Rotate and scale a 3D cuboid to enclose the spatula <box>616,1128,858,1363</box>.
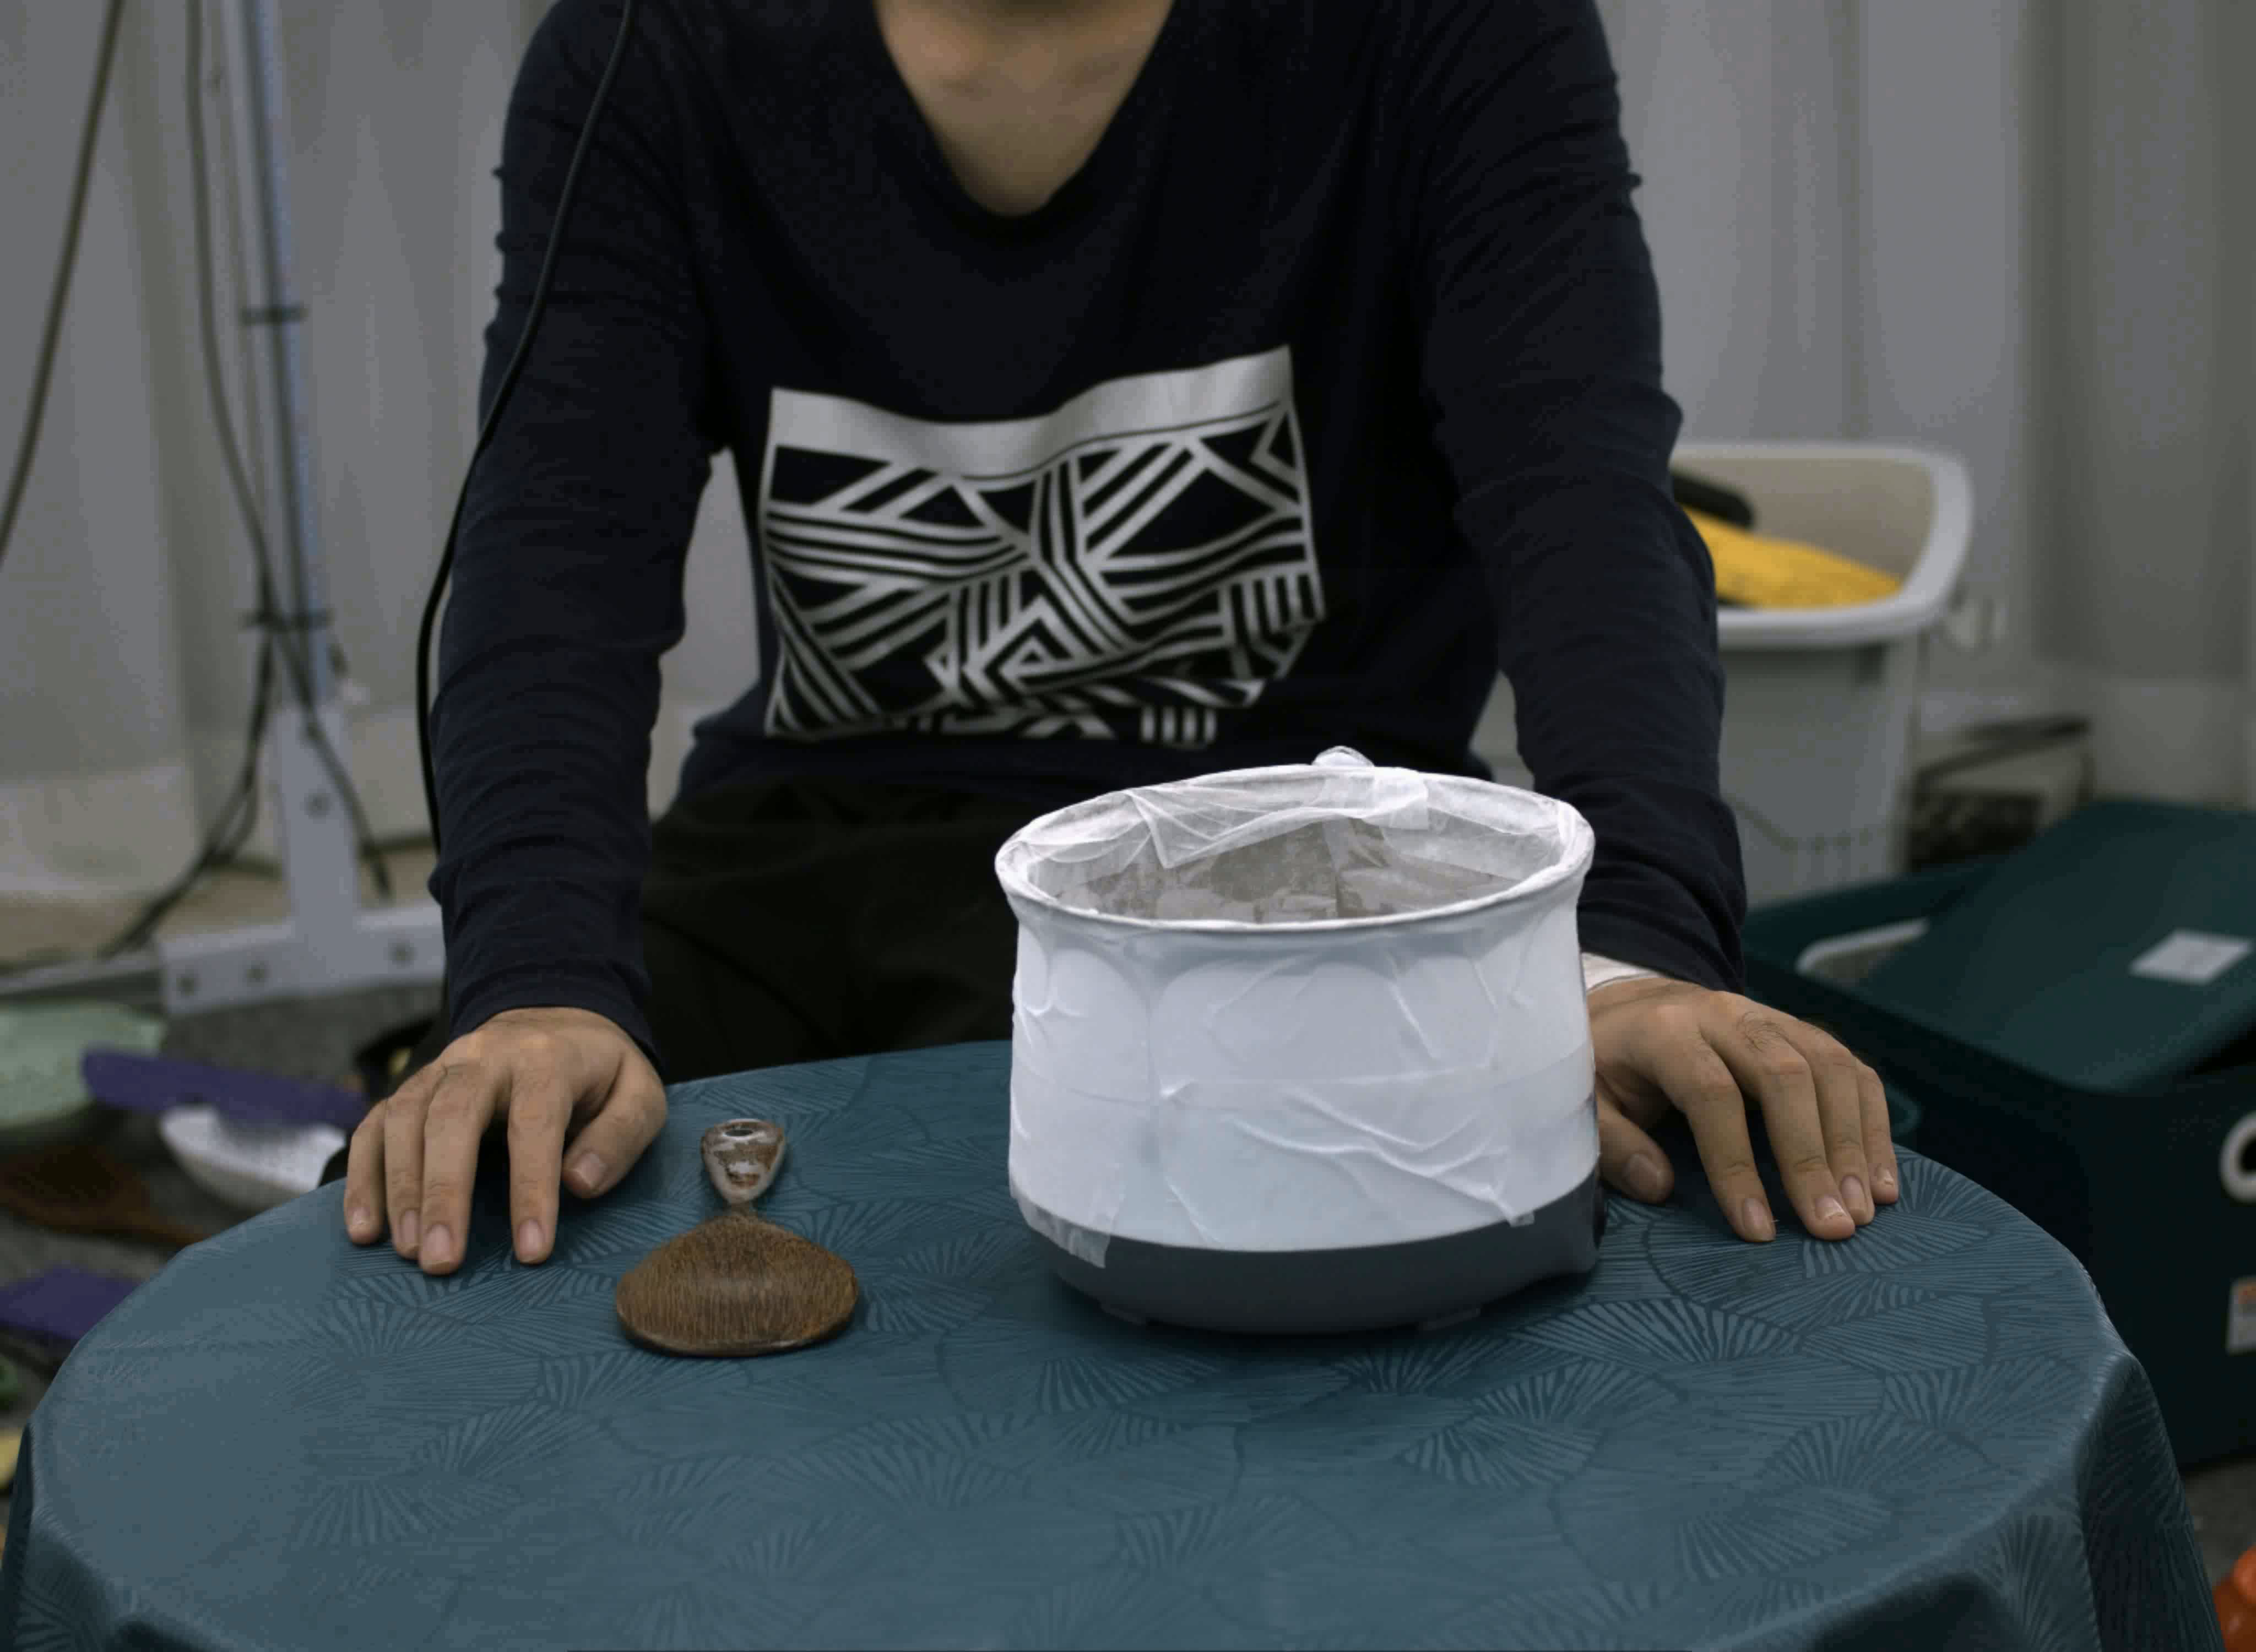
[{"bbox_3d":[-0.119,0.126,1.689,0.071,0.009,0.217,-2,14,-2],"label":"spatula"}]

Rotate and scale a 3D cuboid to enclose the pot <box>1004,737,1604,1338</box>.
[{"bbox_3d":[0.056,0.058,1.651,0.178,0.136,0.235,2,16,8],"label":"pot"}]
